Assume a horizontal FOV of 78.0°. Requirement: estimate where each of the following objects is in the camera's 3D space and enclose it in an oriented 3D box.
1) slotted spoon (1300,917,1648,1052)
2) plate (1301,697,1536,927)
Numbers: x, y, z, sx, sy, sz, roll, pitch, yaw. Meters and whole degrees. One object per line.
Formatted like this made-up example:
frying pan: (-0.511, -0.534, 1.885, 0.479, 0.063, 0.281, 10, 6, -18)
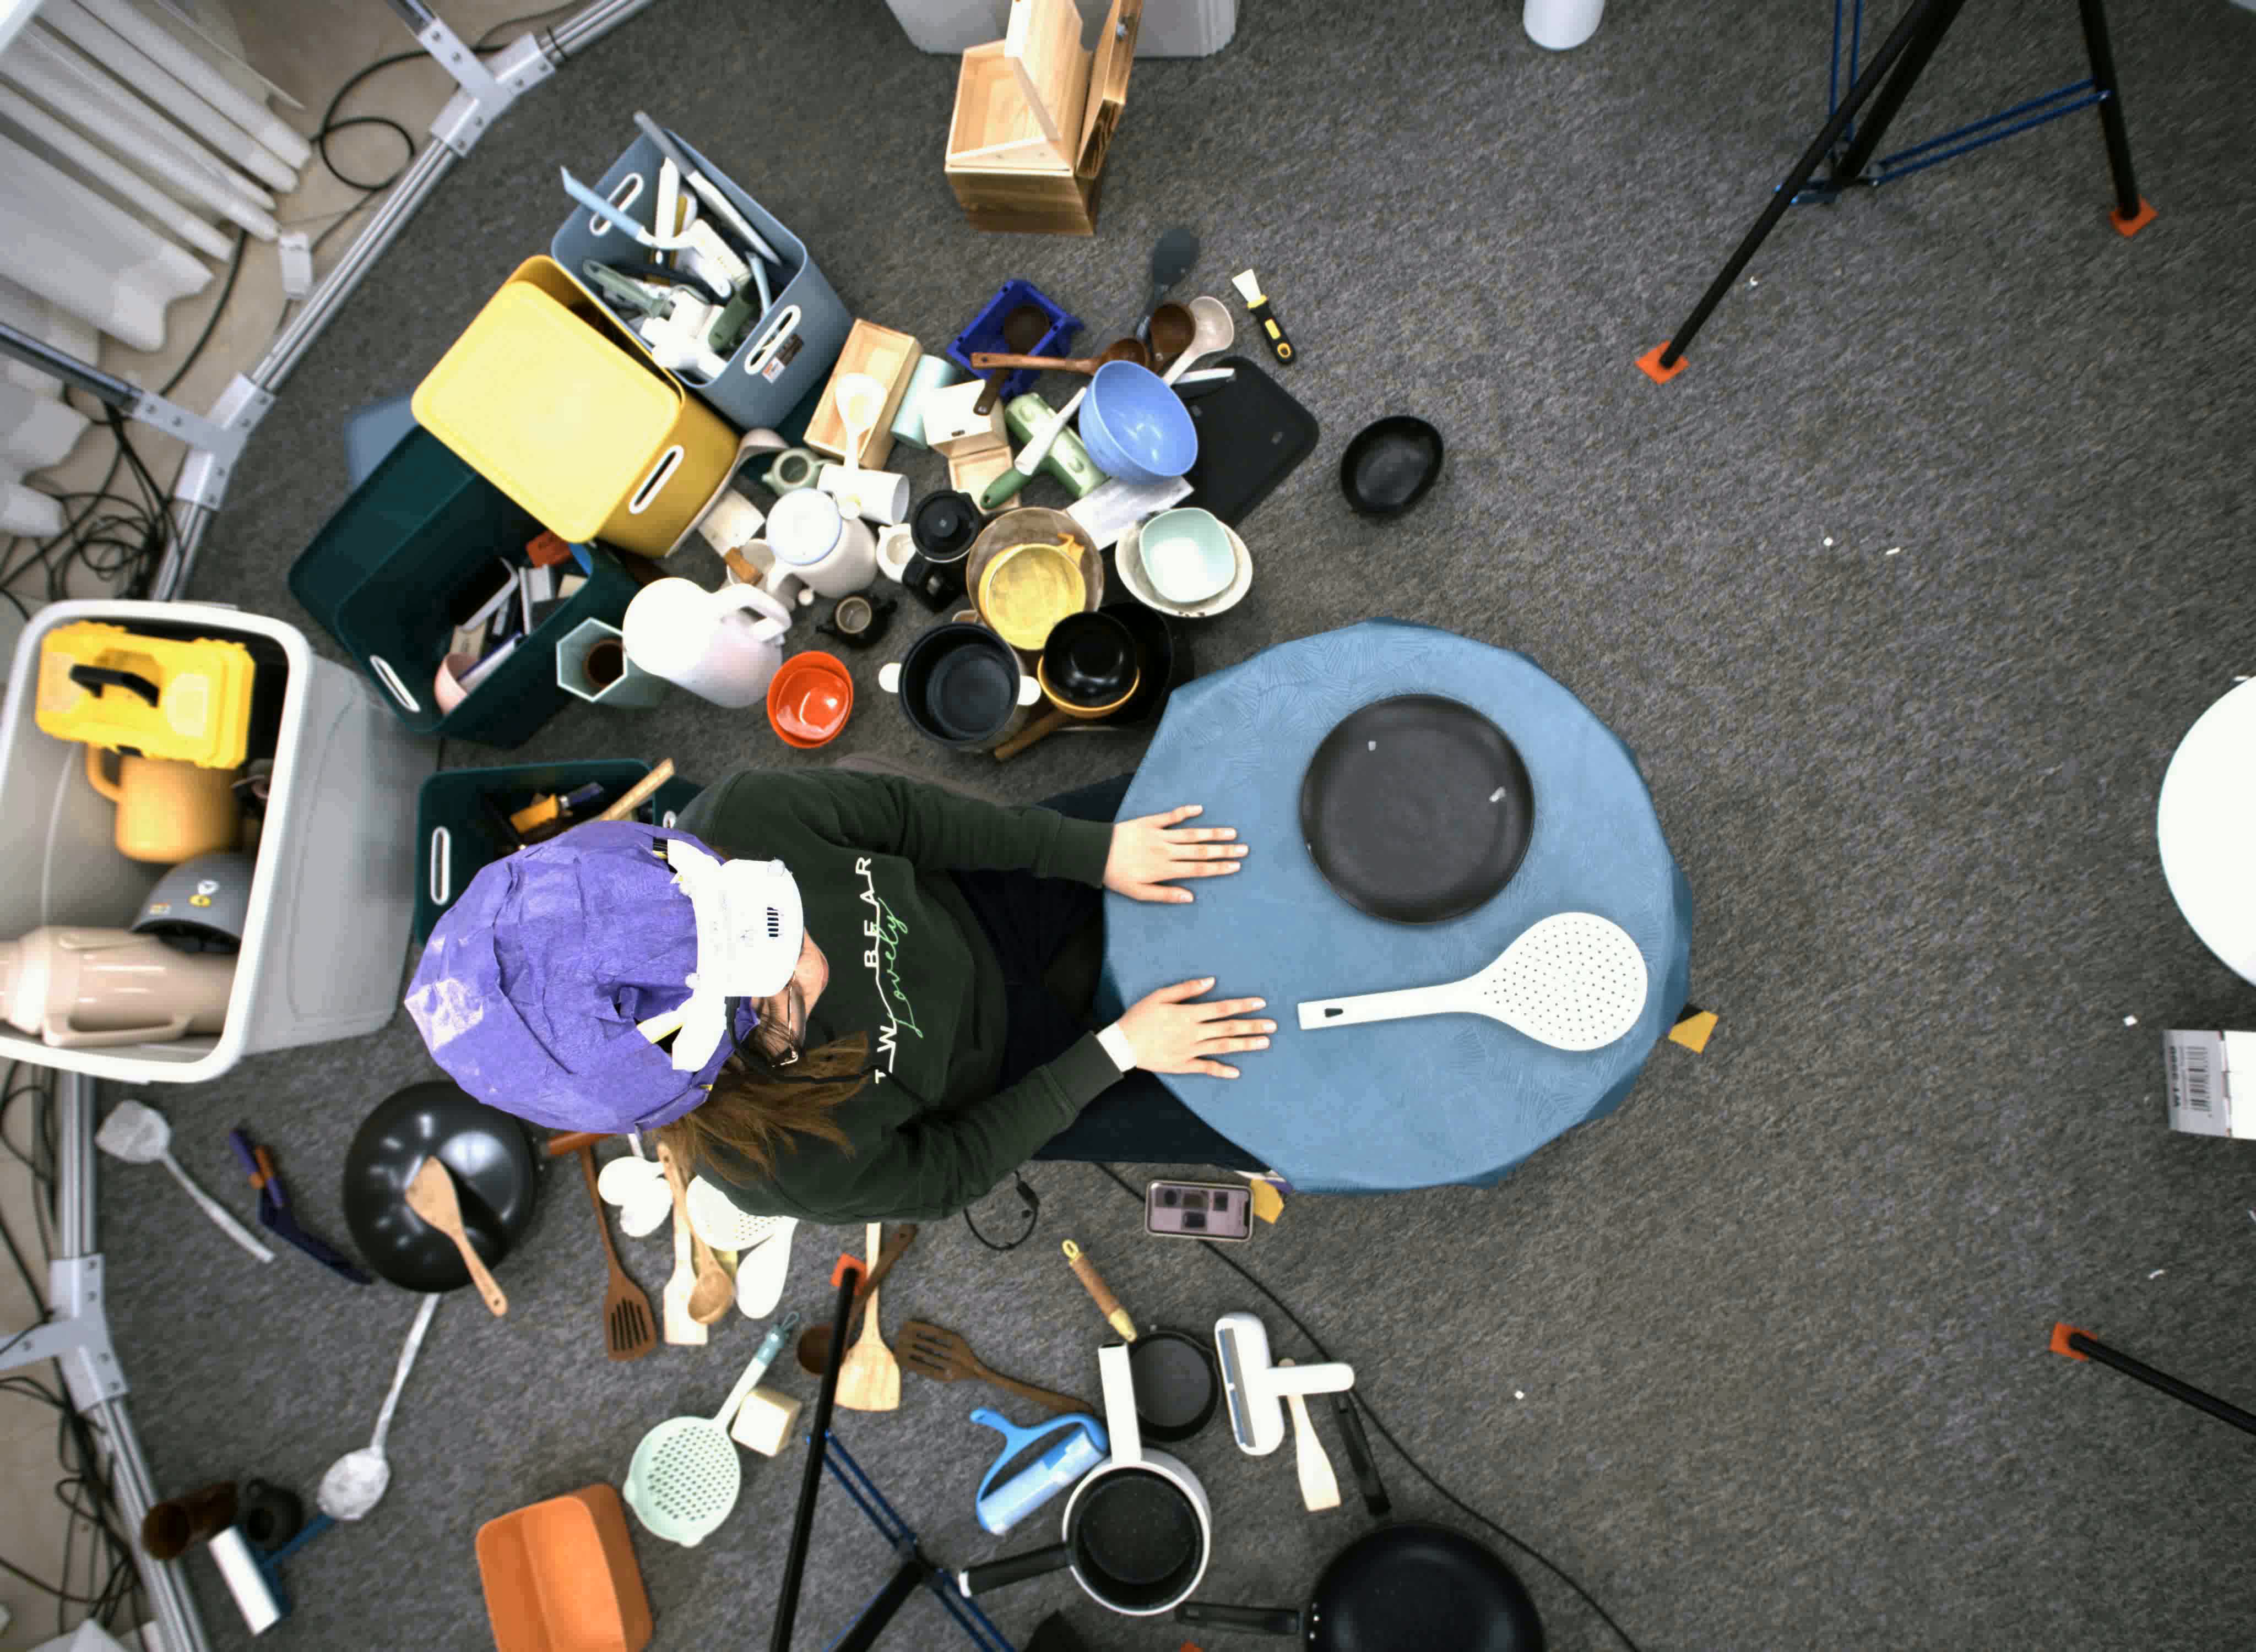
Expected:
slotted spoon: (0.351, 0.175, 1.420, 0.351, 0.046, 0.135, -8, 82, 11)
plate: (0.305, -0.016, 1.453, 0.245, 0.023, 0.243, -1, 86, 10)
